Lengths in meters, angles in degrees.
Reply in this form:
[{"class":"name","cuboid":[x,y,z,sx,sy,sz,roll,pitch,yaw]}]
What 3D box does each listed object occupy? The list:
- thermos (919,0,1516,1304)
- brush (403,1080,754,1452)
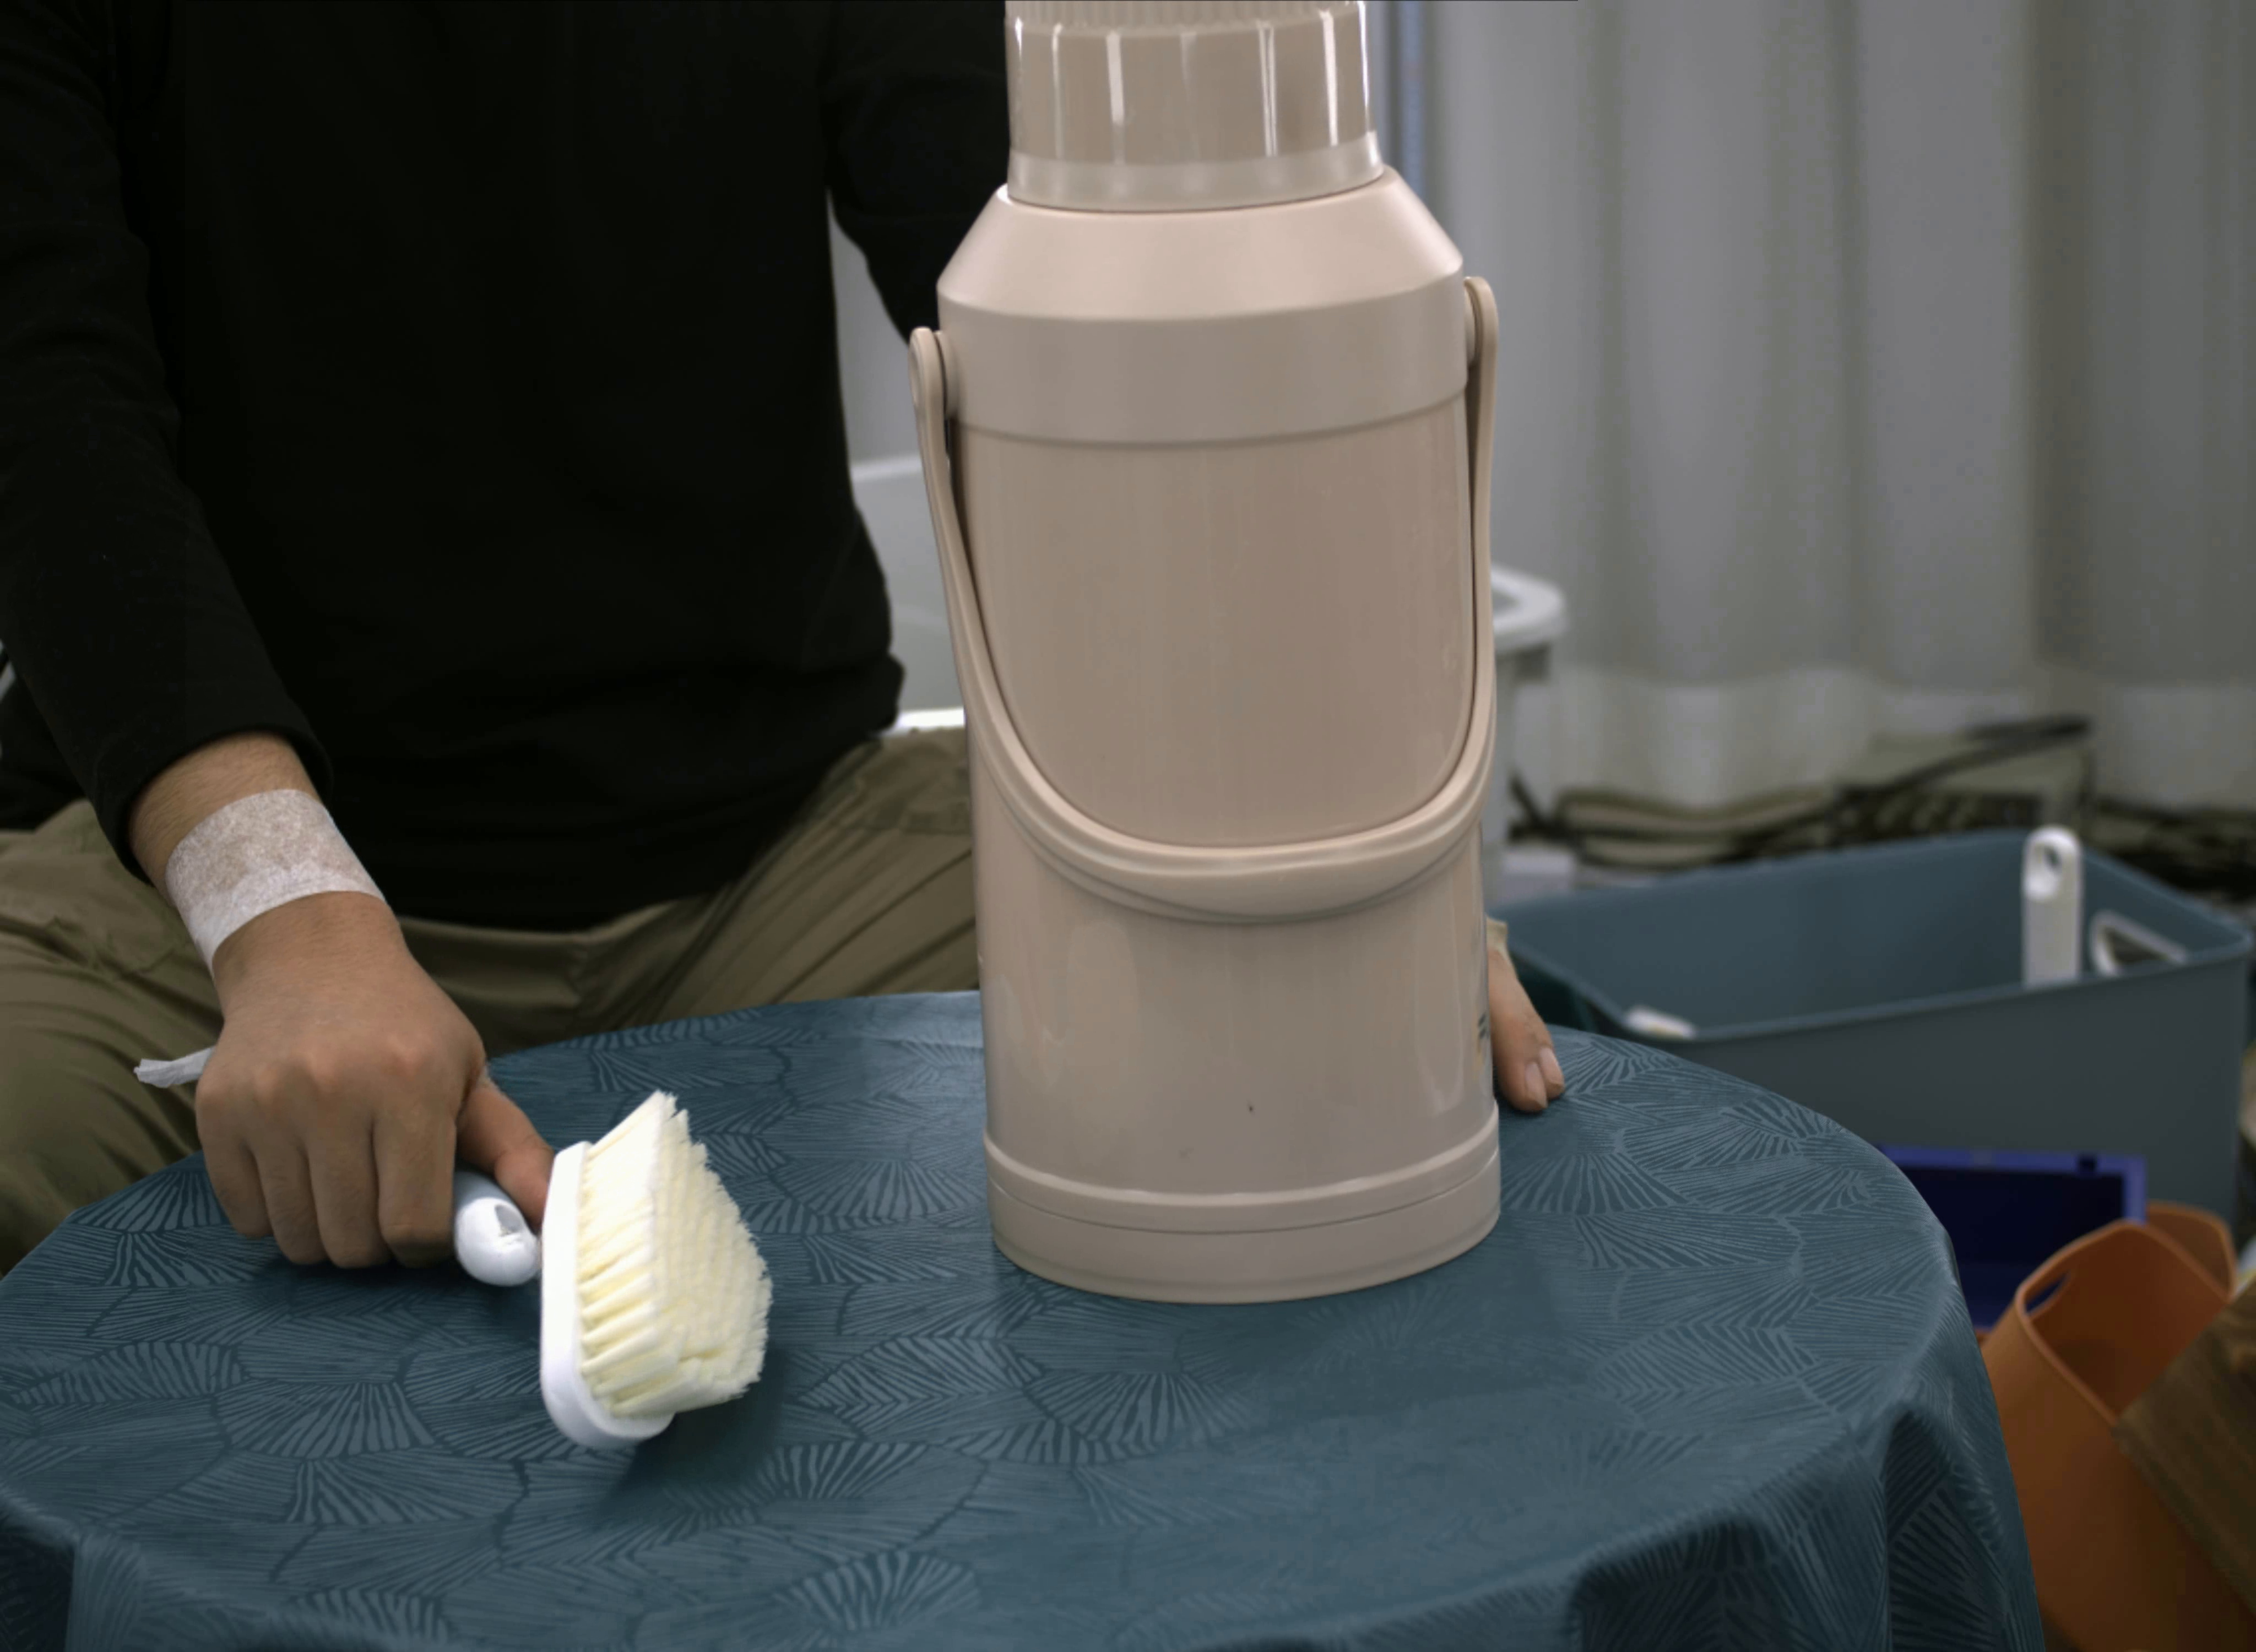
[{"class":"thermos","cuboid":[0.027,-0.074,1.653,0.174,0.405,0.208,-8,15,-12]},{"class":"brush","cuboid":[-0.159,0.107,1.637,0.084,0.083,0.327,8,10,-14]}]
